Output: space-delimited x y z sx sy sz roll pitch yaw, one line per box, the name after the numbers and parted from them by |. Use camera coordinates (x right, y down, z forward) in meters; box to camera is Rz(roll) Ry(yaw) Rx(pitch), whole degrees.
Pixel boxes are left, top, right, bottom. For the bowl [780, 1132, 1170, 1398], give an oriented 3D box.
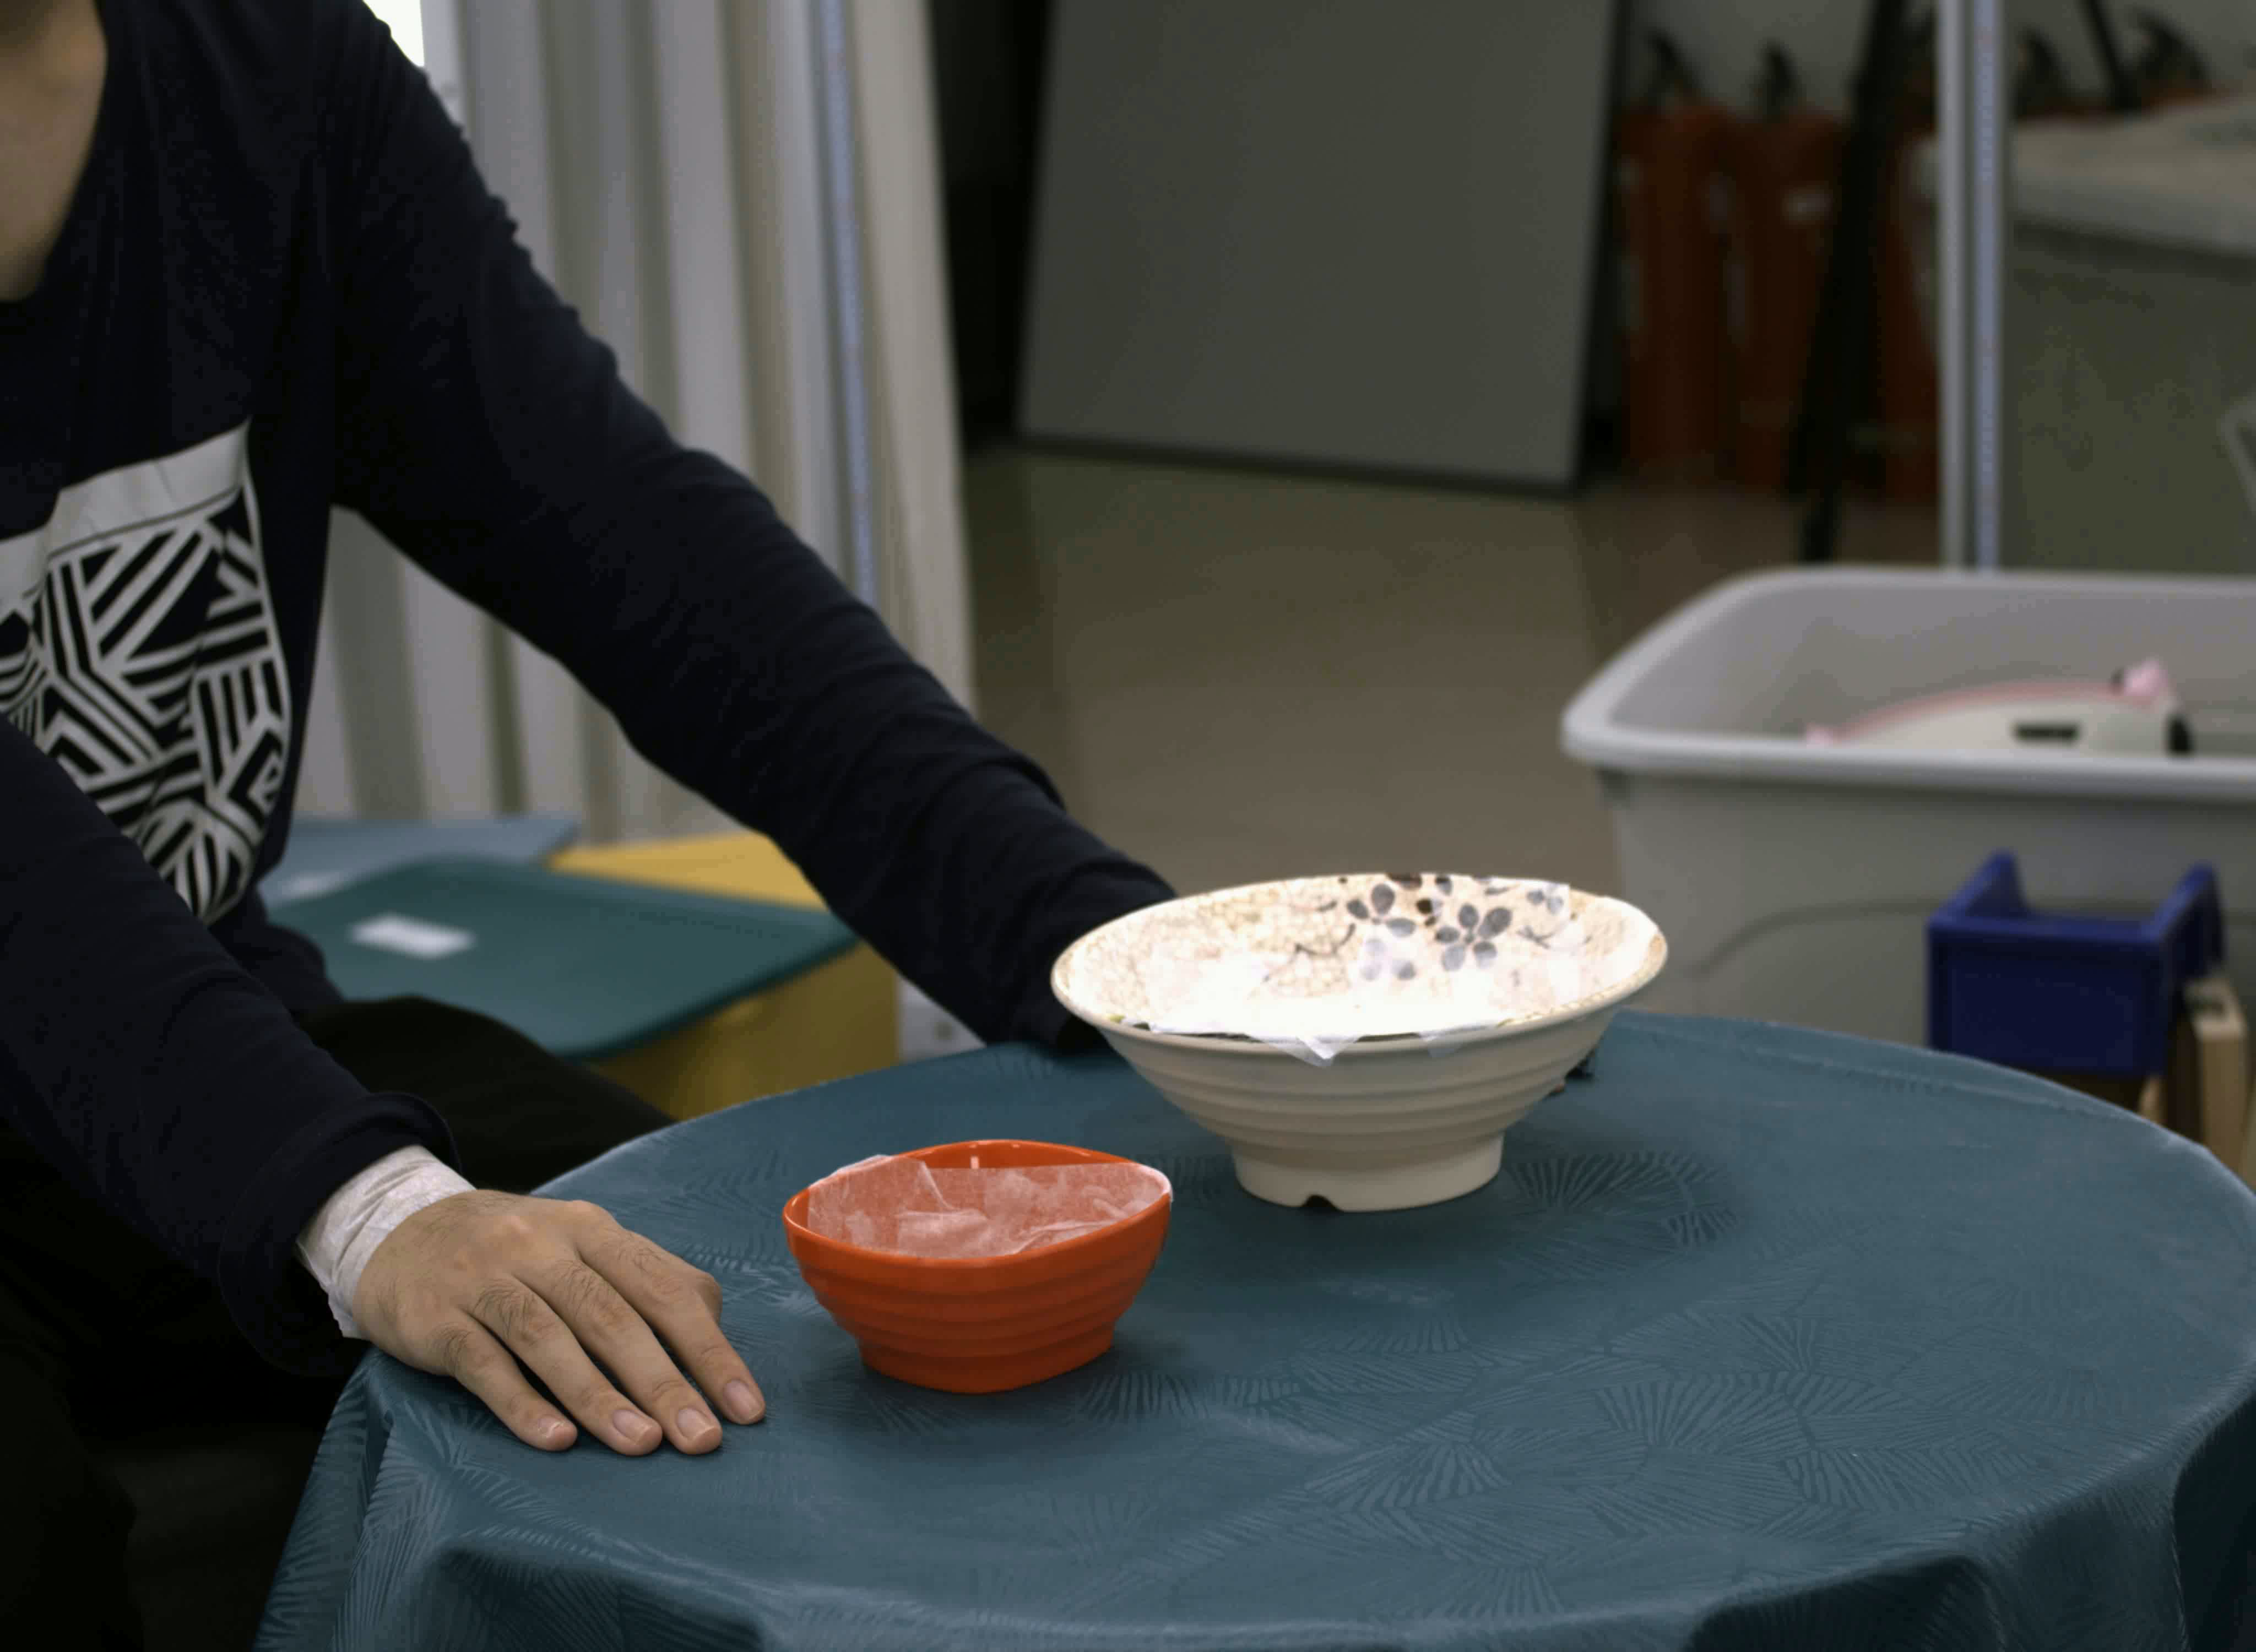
-0.044 0.134 1.623 0.117 0.052 0.119 -5 15 0 | bowl

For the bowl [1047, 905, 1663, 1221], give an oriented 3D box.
0.076 0.081 1.762 0.201 0.079 0.204 -5 9 0 | bowl
